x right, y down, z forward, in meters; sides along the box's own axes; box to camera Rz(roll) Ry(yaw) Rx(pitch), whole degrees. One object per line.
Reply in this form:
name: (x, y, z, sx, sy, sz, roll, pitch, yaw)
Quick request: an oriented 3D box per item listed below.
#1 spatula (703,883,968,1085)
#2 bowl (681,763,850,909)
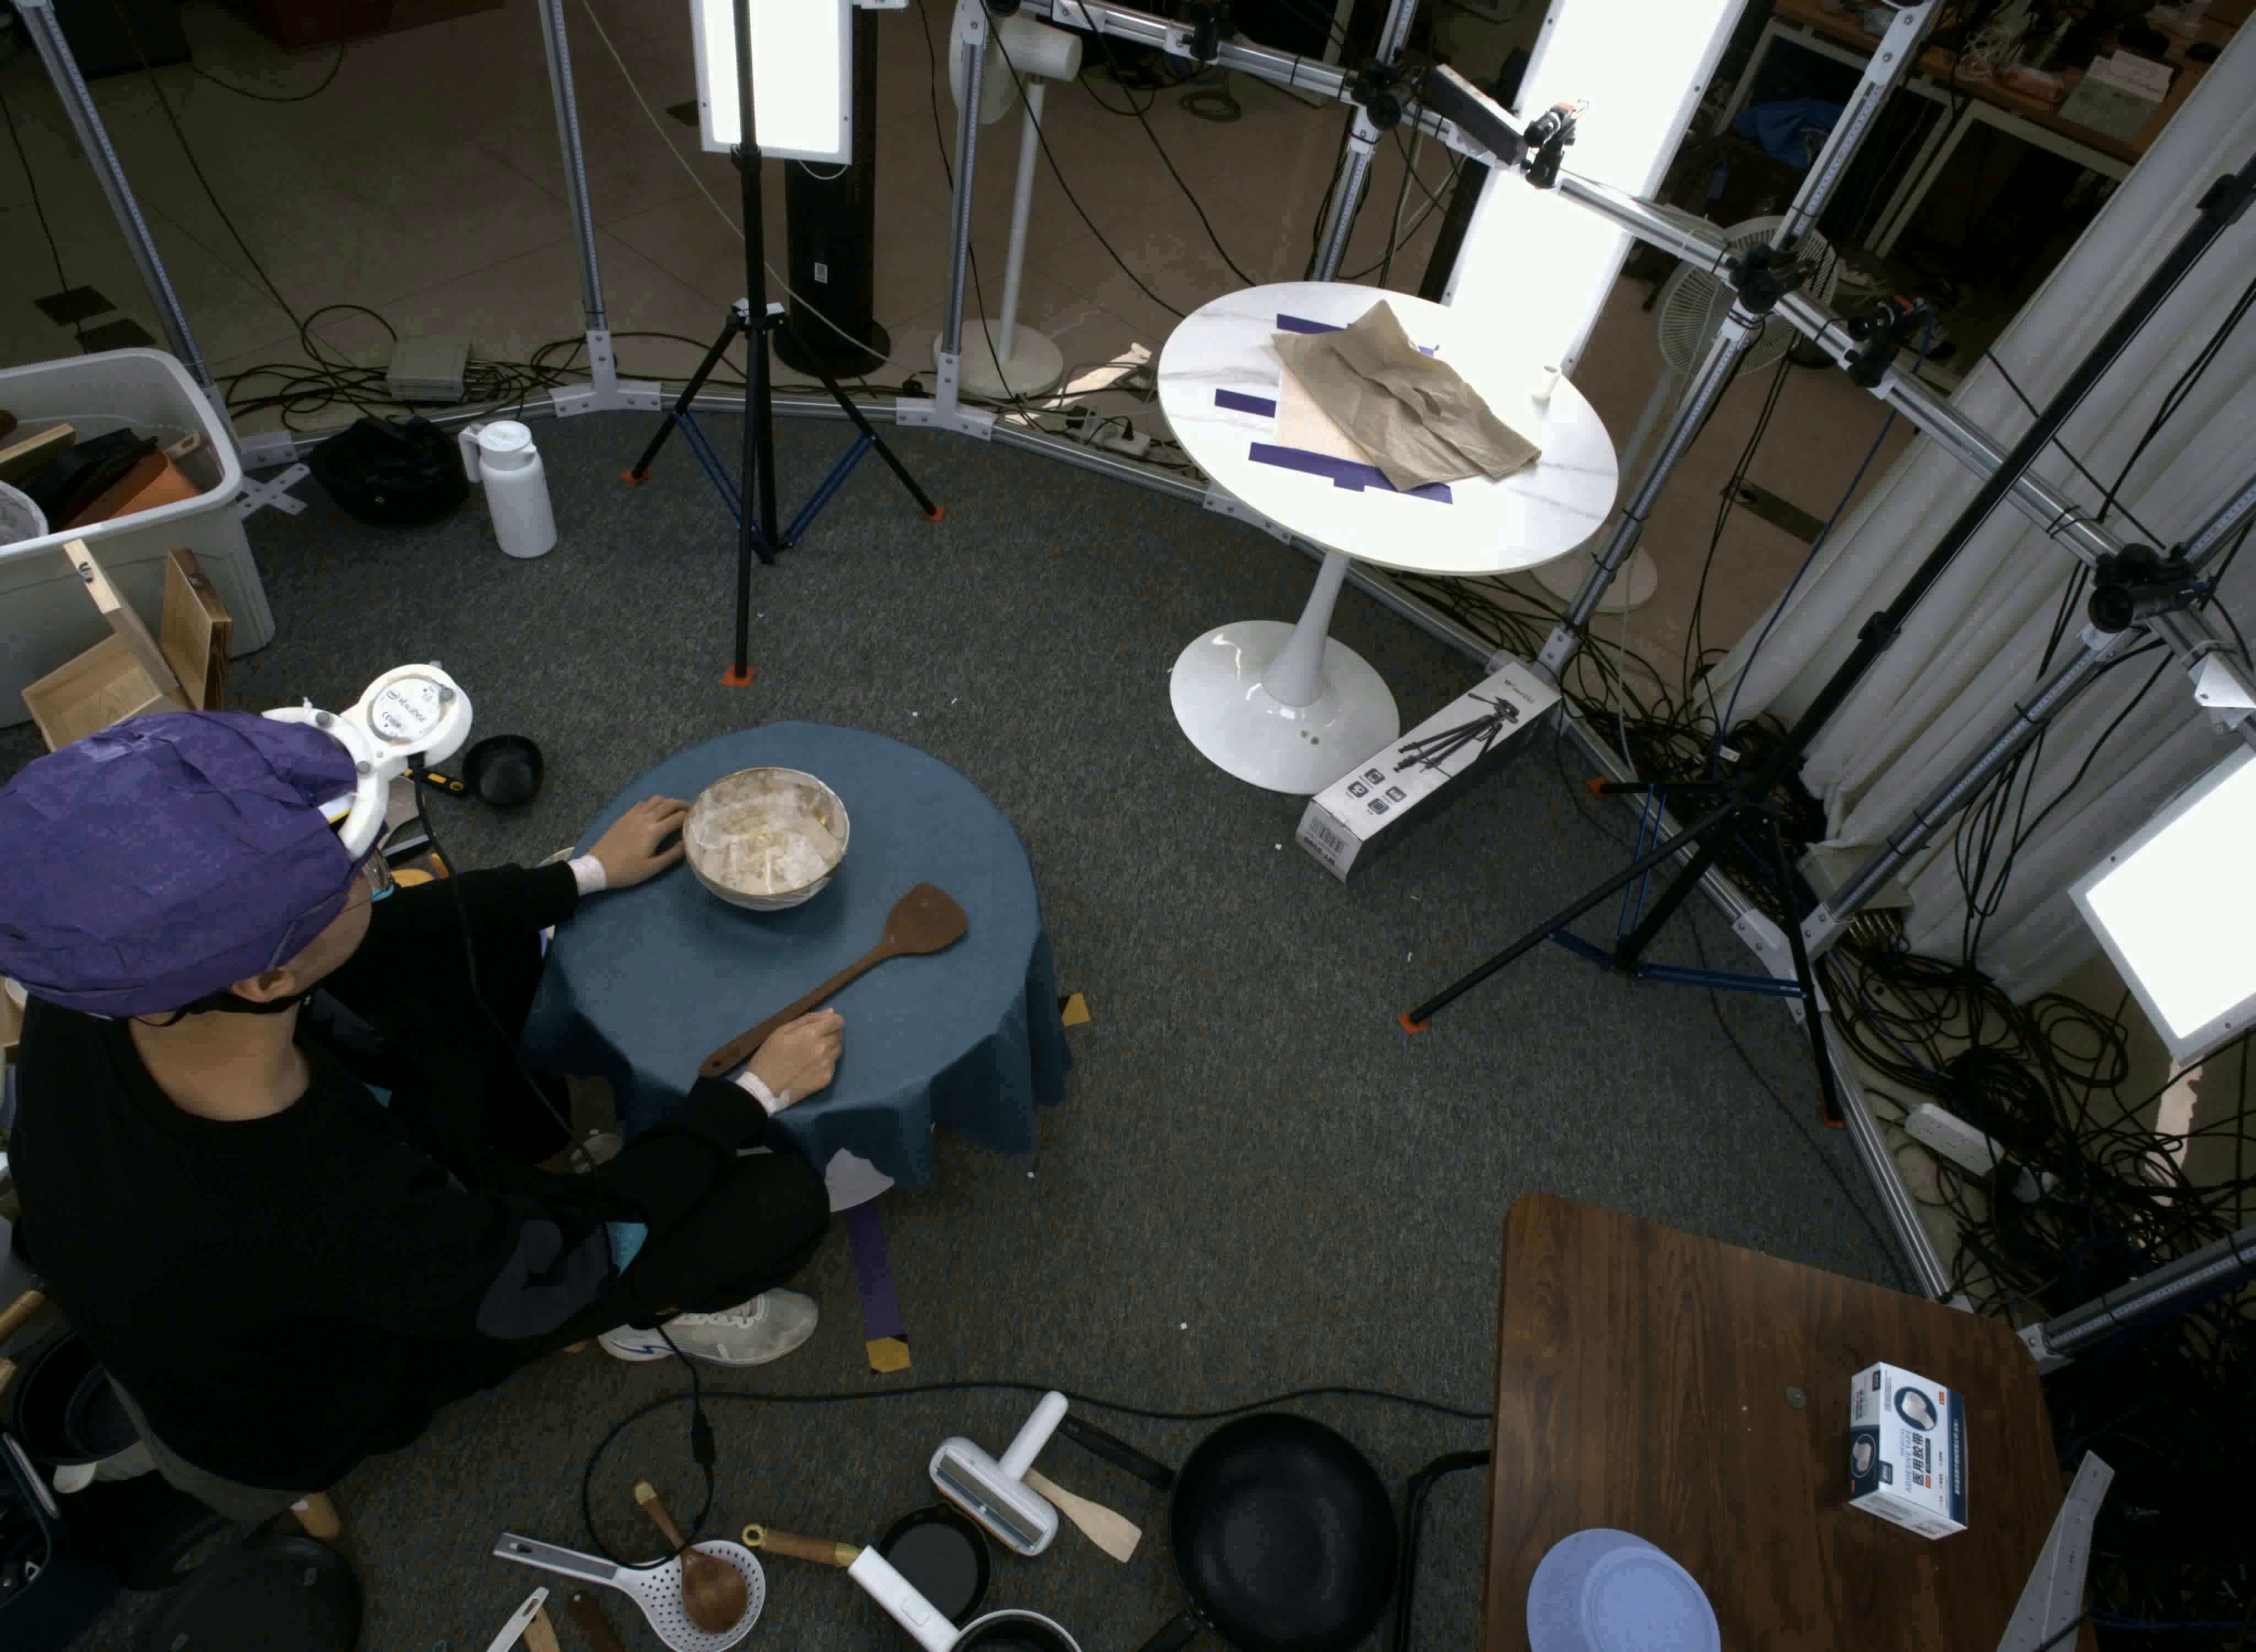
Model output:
spatula: (-0.359, 0.193, 1.593, 0.094, 0.016, 0.387, 42, 55, 18)
bowl: (-0.458, 0.027, 1.639, 0.214, 0.096, 0.211, 8, 54, -9)
